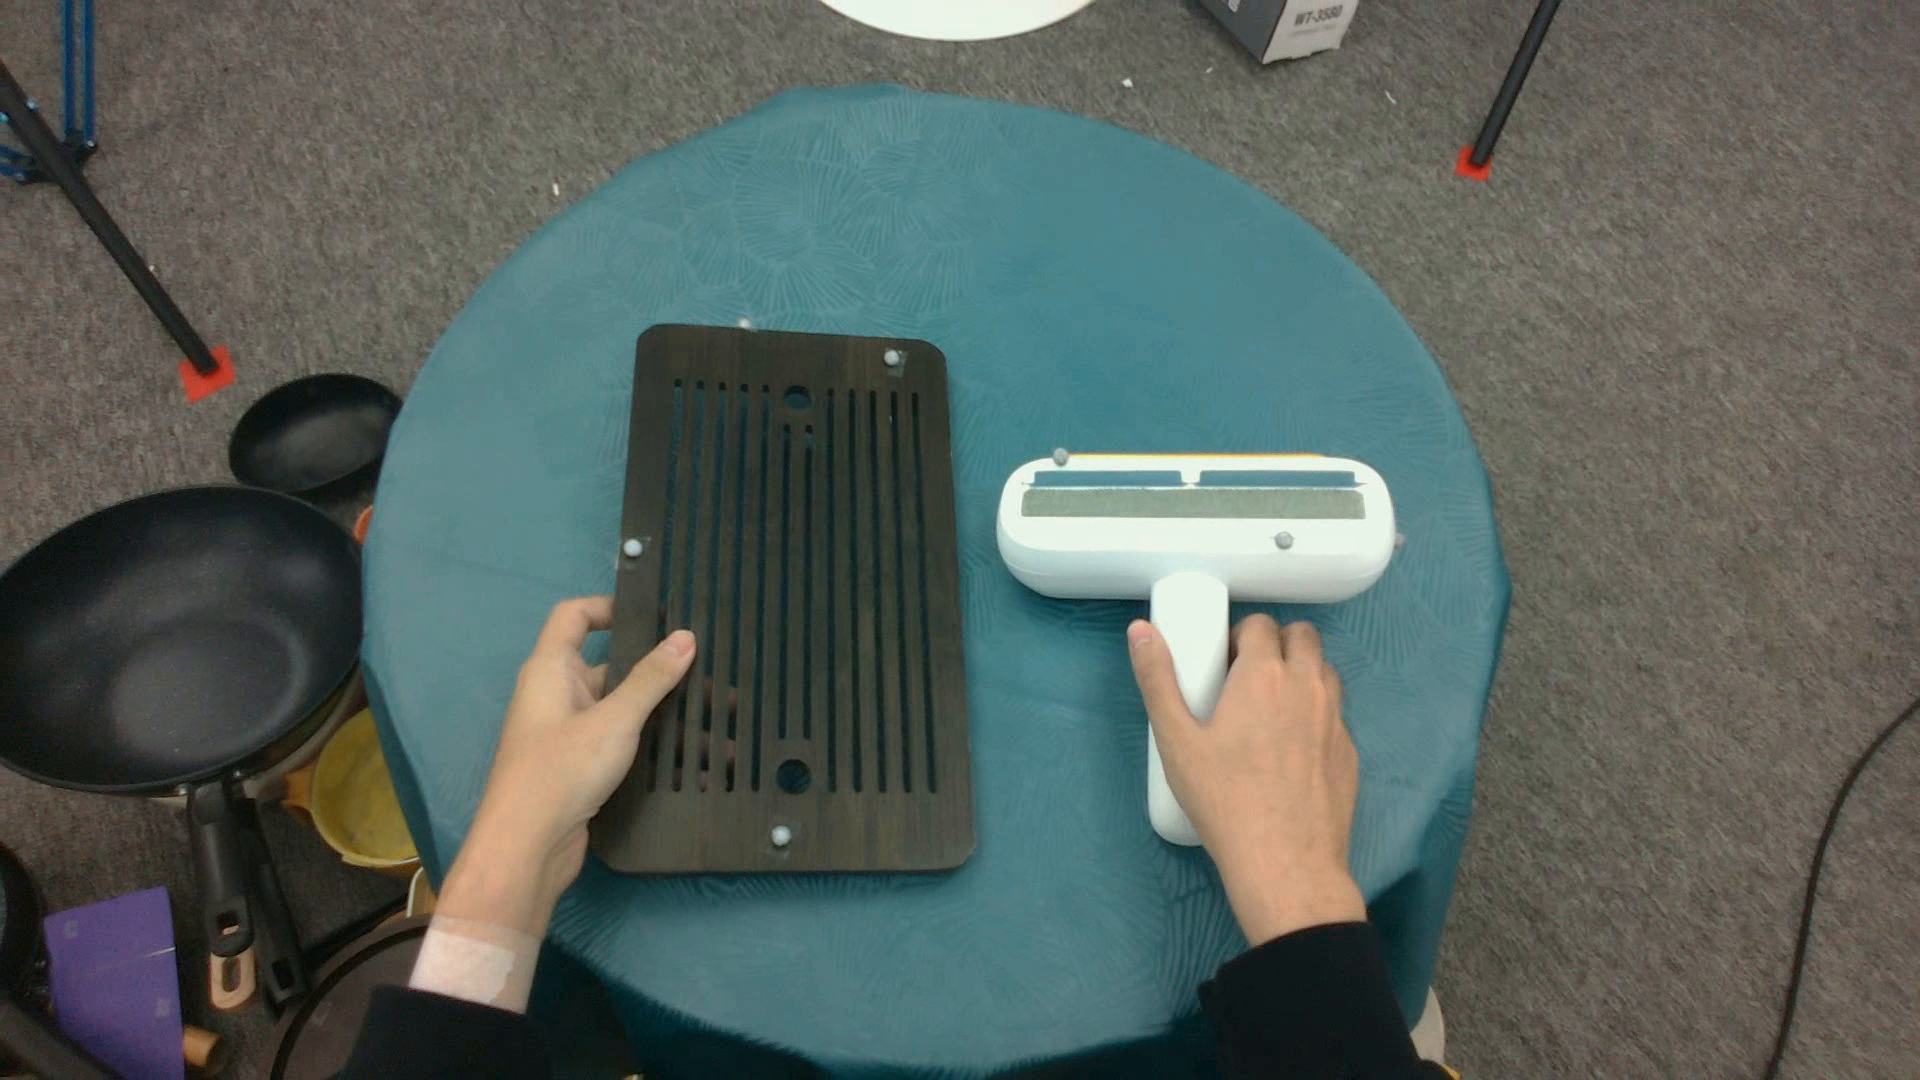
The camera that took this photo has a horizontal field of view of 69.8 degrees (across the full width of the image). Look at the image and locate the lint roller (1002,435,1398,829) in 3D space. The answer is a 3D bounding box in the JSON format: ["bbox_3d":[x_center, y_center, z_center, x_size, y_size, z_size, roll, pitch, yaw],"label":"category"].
[{"bbox_3d":[0.108,0.040,0.663,0.193,0.074,0.193,7,60,7],"label":"lint roller"}]

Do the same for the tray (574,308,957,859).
[{"bbox_3d":[-0.093,0.011,0.689,0.170,0.018,0.307,2,59,-10],"label":"tray"}]
